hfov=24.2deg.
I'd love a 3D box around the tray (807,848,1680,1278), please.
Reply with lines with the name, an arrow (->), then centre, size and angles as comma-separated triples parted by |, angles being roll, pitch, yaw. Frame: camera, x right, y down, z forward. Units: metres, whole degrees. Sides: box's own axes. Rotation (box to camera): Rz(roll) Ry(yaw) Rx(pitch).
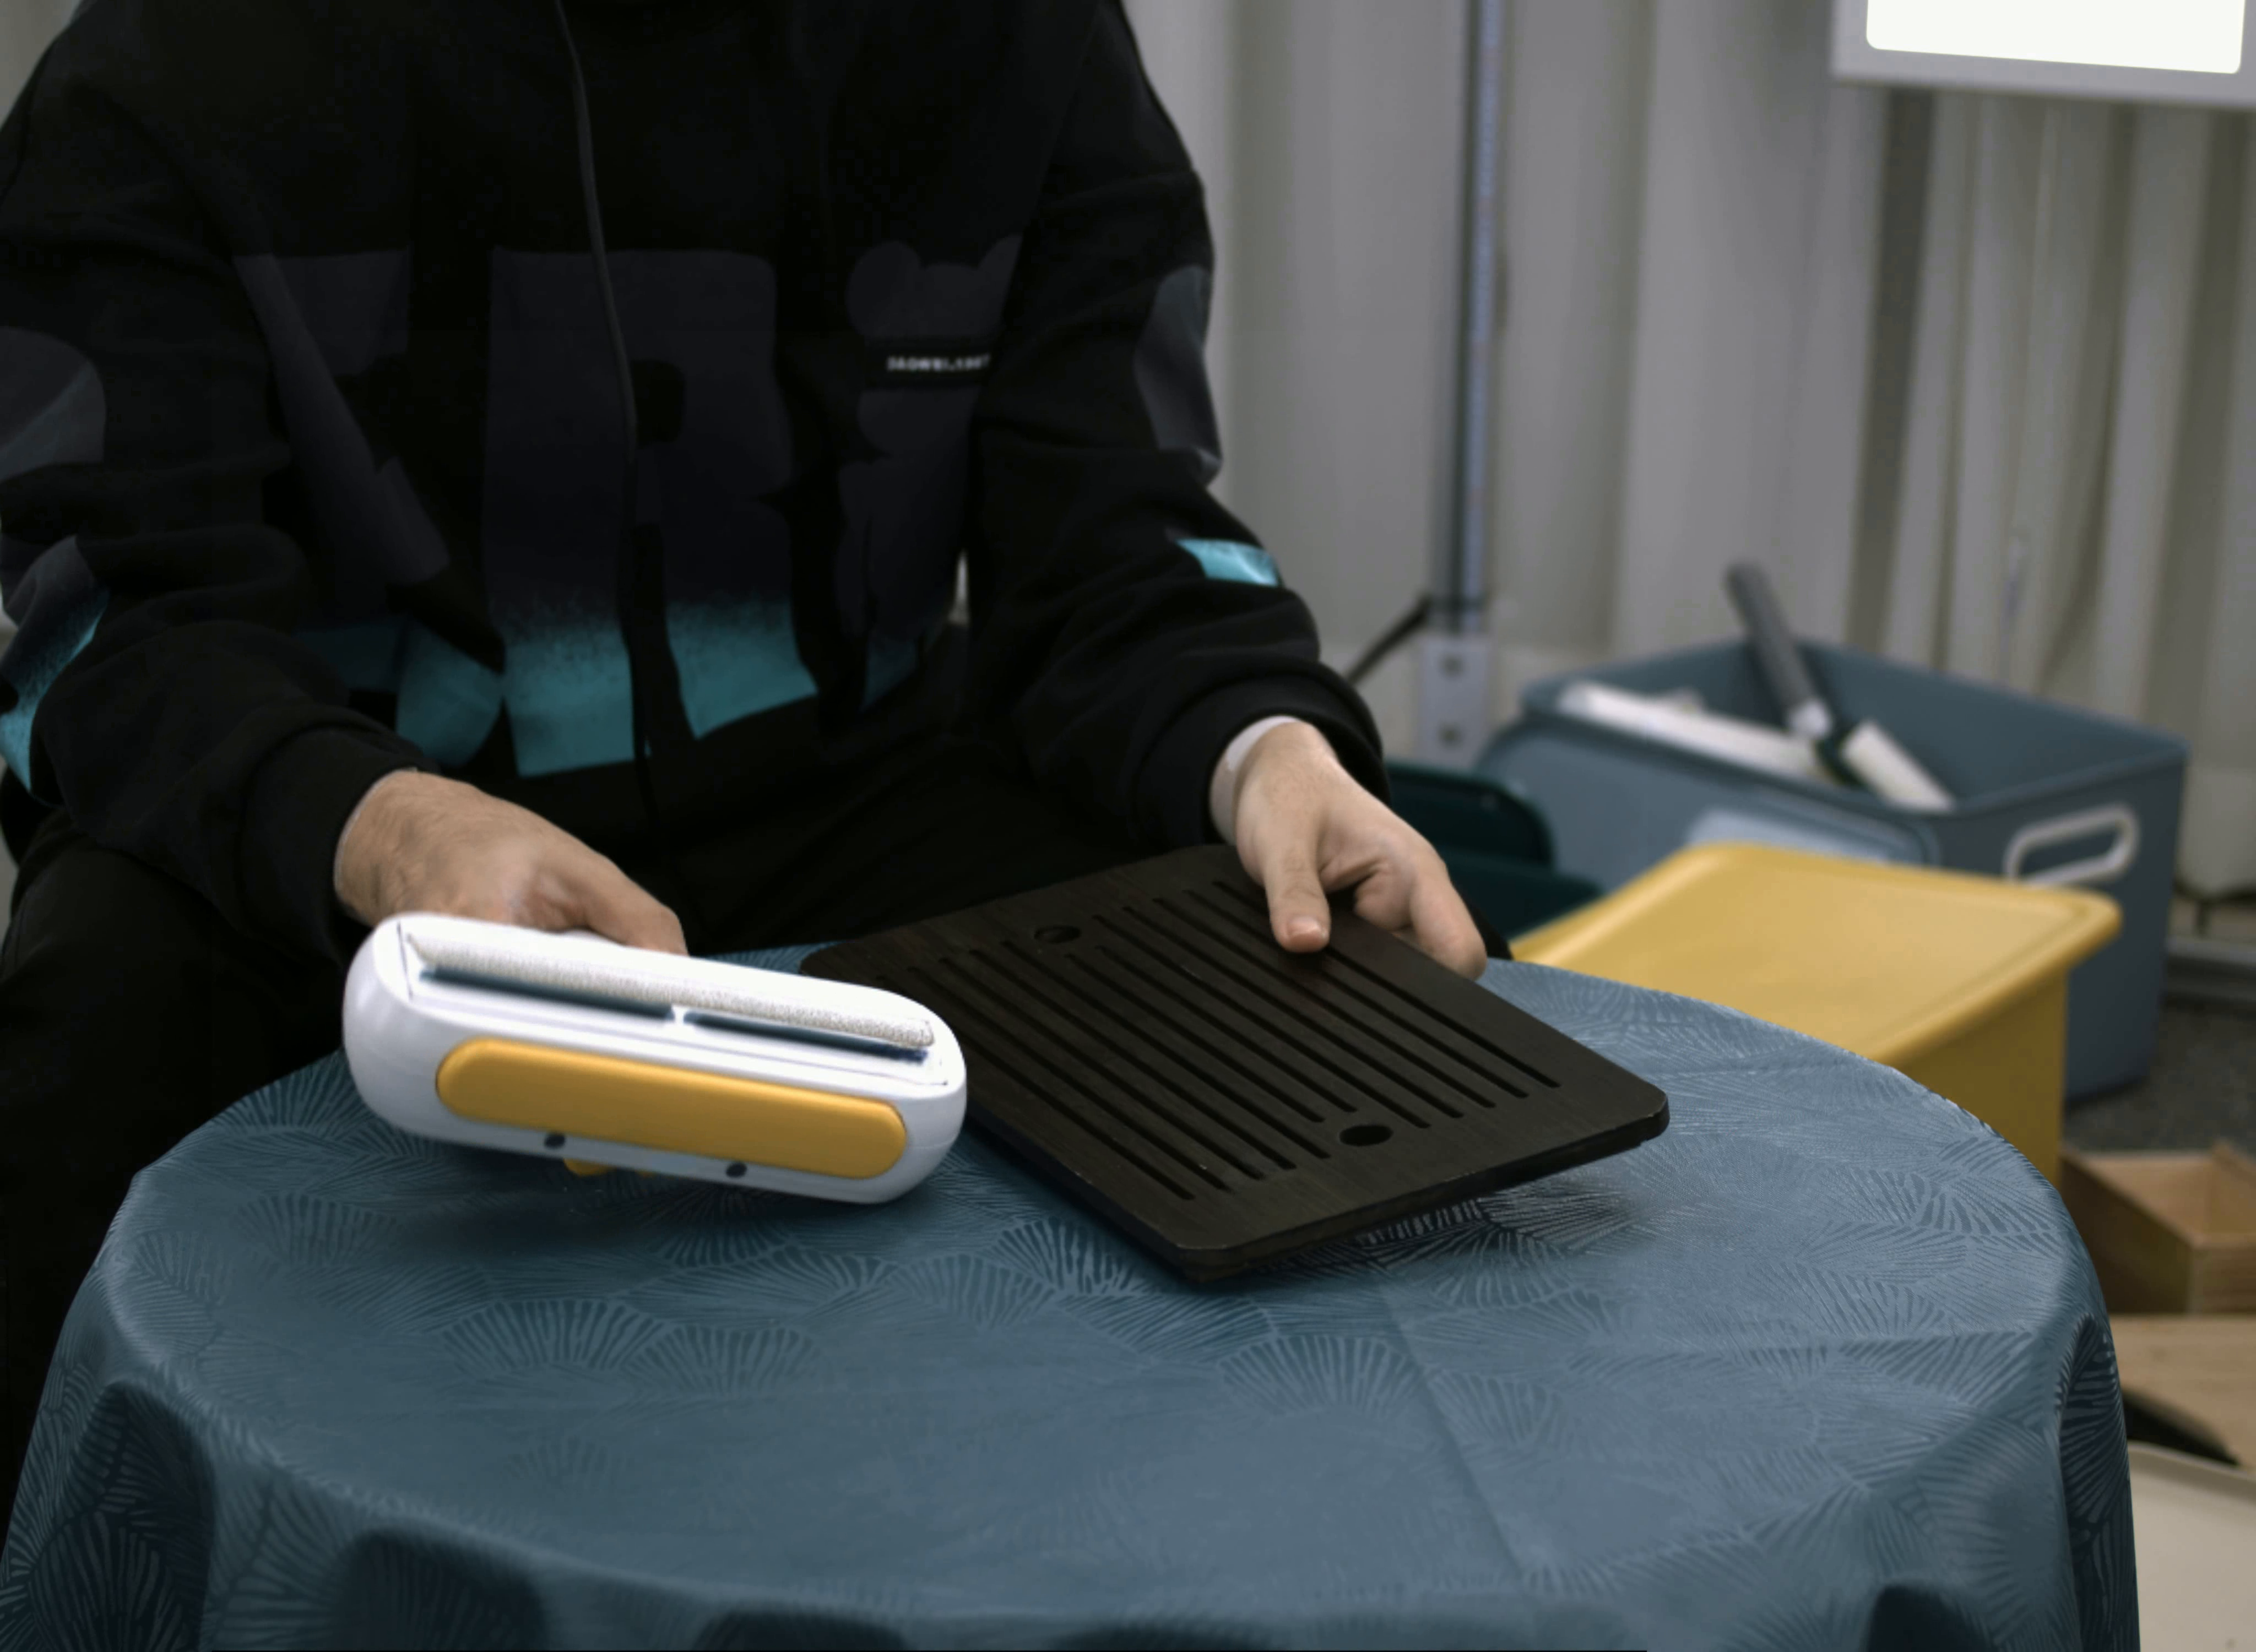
tray -> 0.030, 0.072, 1.688 | 0.170, 0.019, 0.302 | -15, 21, -23

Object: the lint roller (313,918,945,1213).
lint roller -> -0.162, 0.057, 1.639 | 0.193, 0.075, 0.190 | 7, 20, -15
